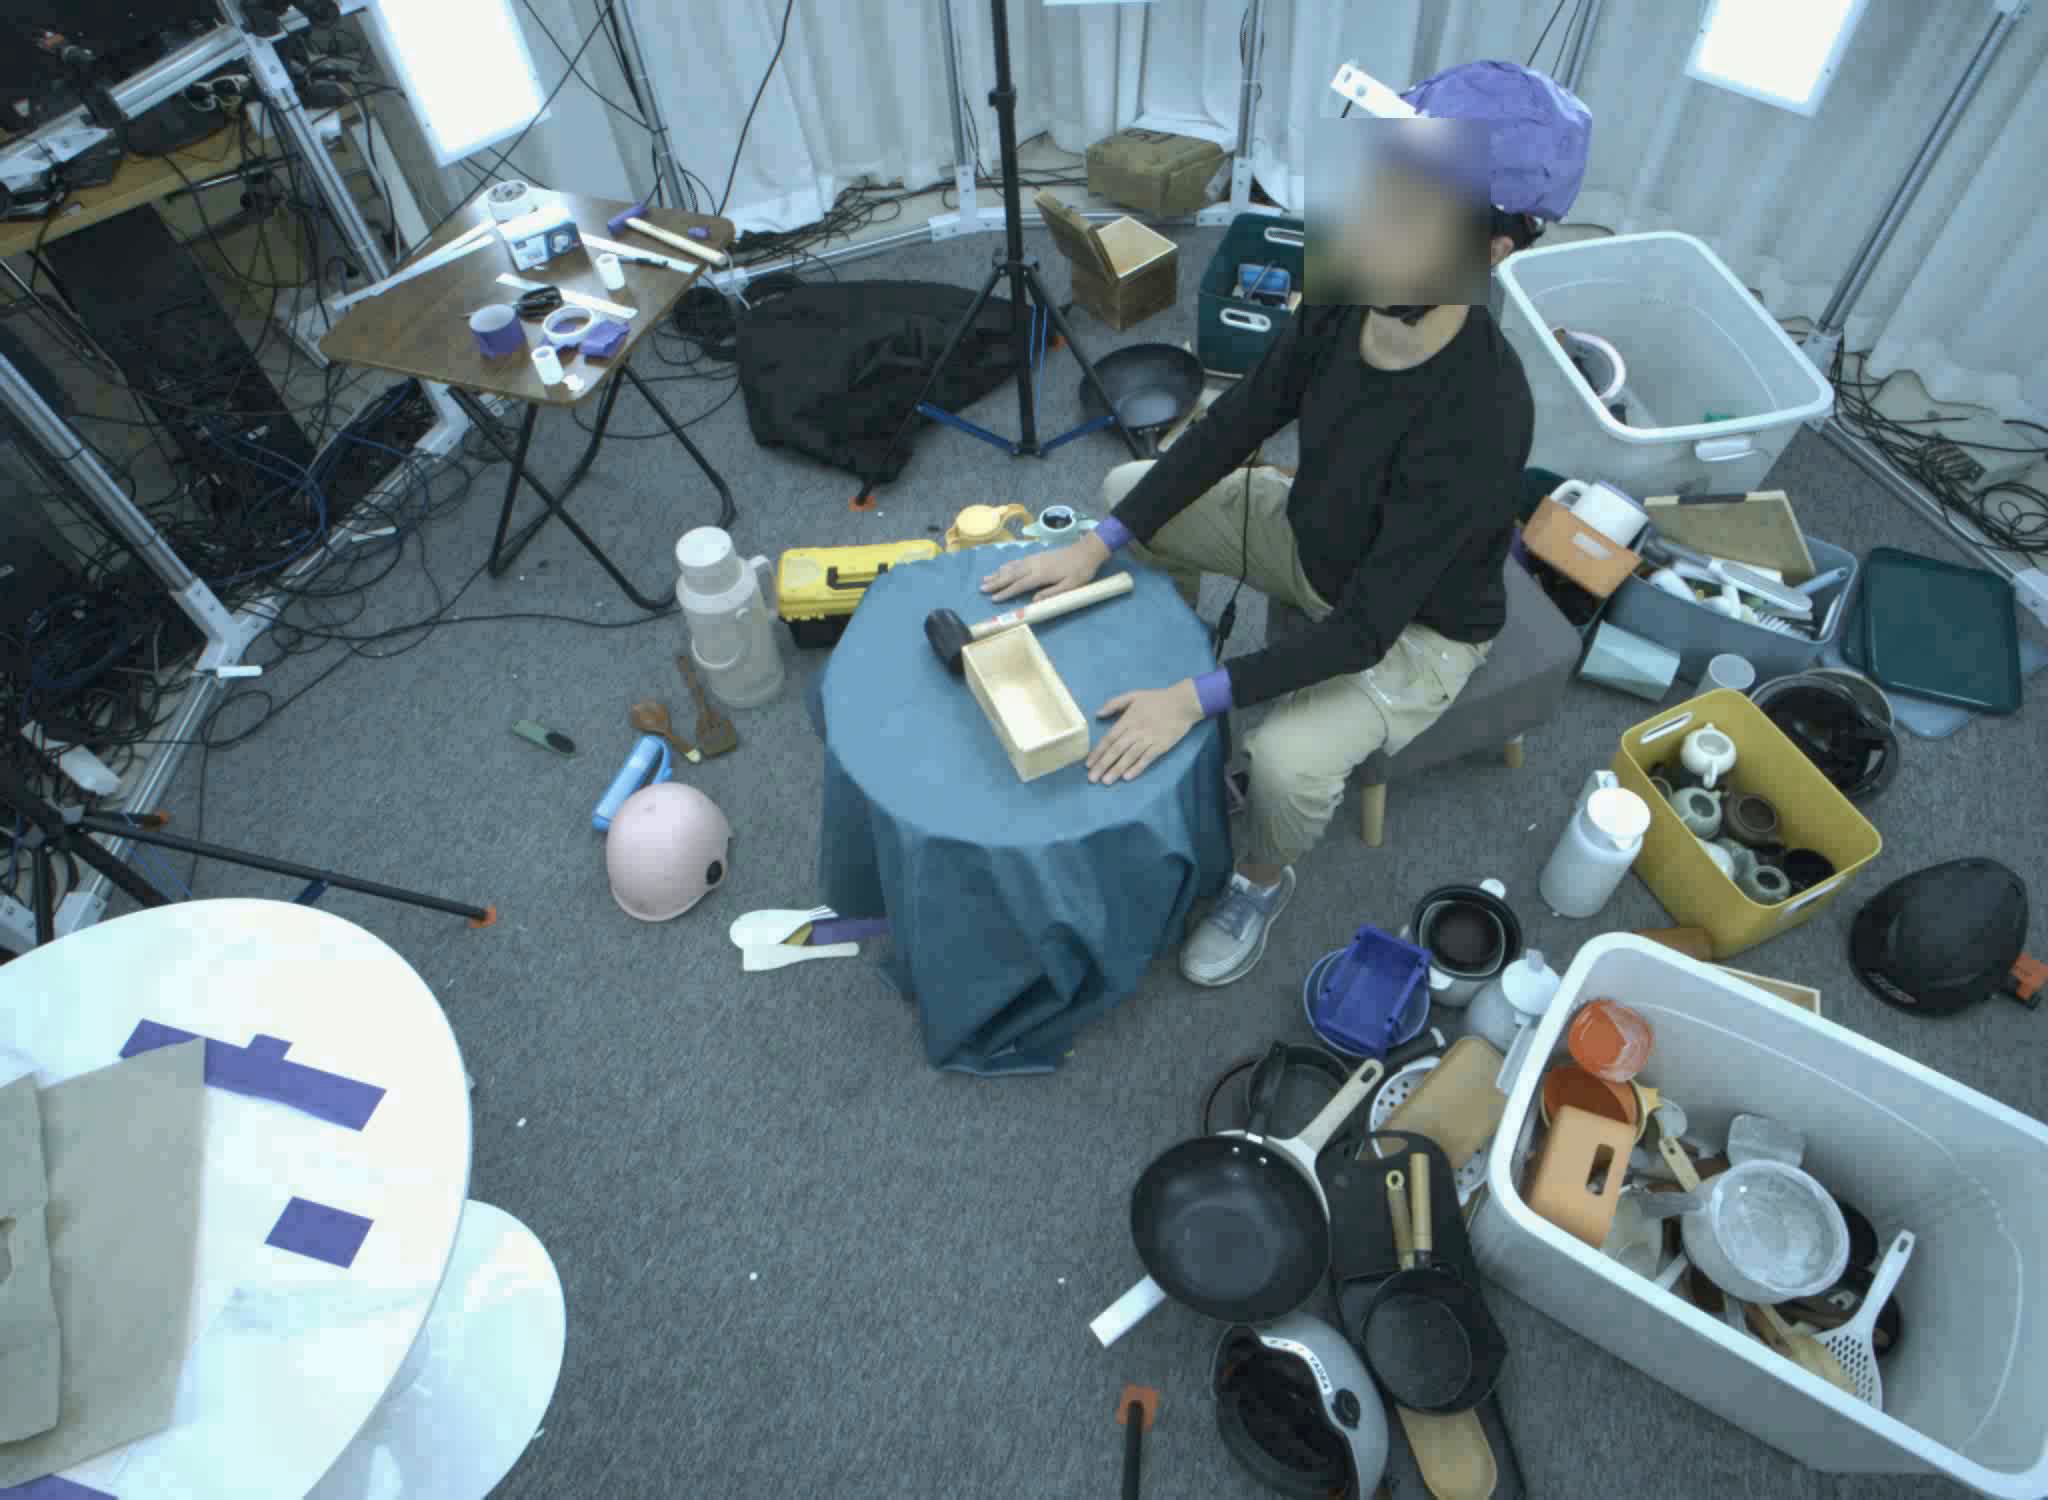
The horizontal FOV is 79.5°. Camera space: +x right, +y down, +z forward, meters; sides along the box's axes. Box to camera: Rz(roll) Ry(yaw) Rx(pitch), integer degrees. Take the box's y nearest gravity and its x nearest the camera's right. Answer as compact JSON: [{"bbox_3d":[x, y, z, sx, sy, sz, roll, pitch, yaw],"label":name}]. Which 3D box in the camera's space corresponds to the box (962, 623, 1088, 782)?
[{"bbox_3d":[0.000,-0.072,1.785,0.108,0.081,0.207,-21,57,-13],"label":"box"}]

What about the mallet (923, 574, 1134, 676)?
[{"bbox_3d":[0.013,-0.216,1.900,0.341,0.065,0.100,-22,57,-14],"label":"mallet"}]
